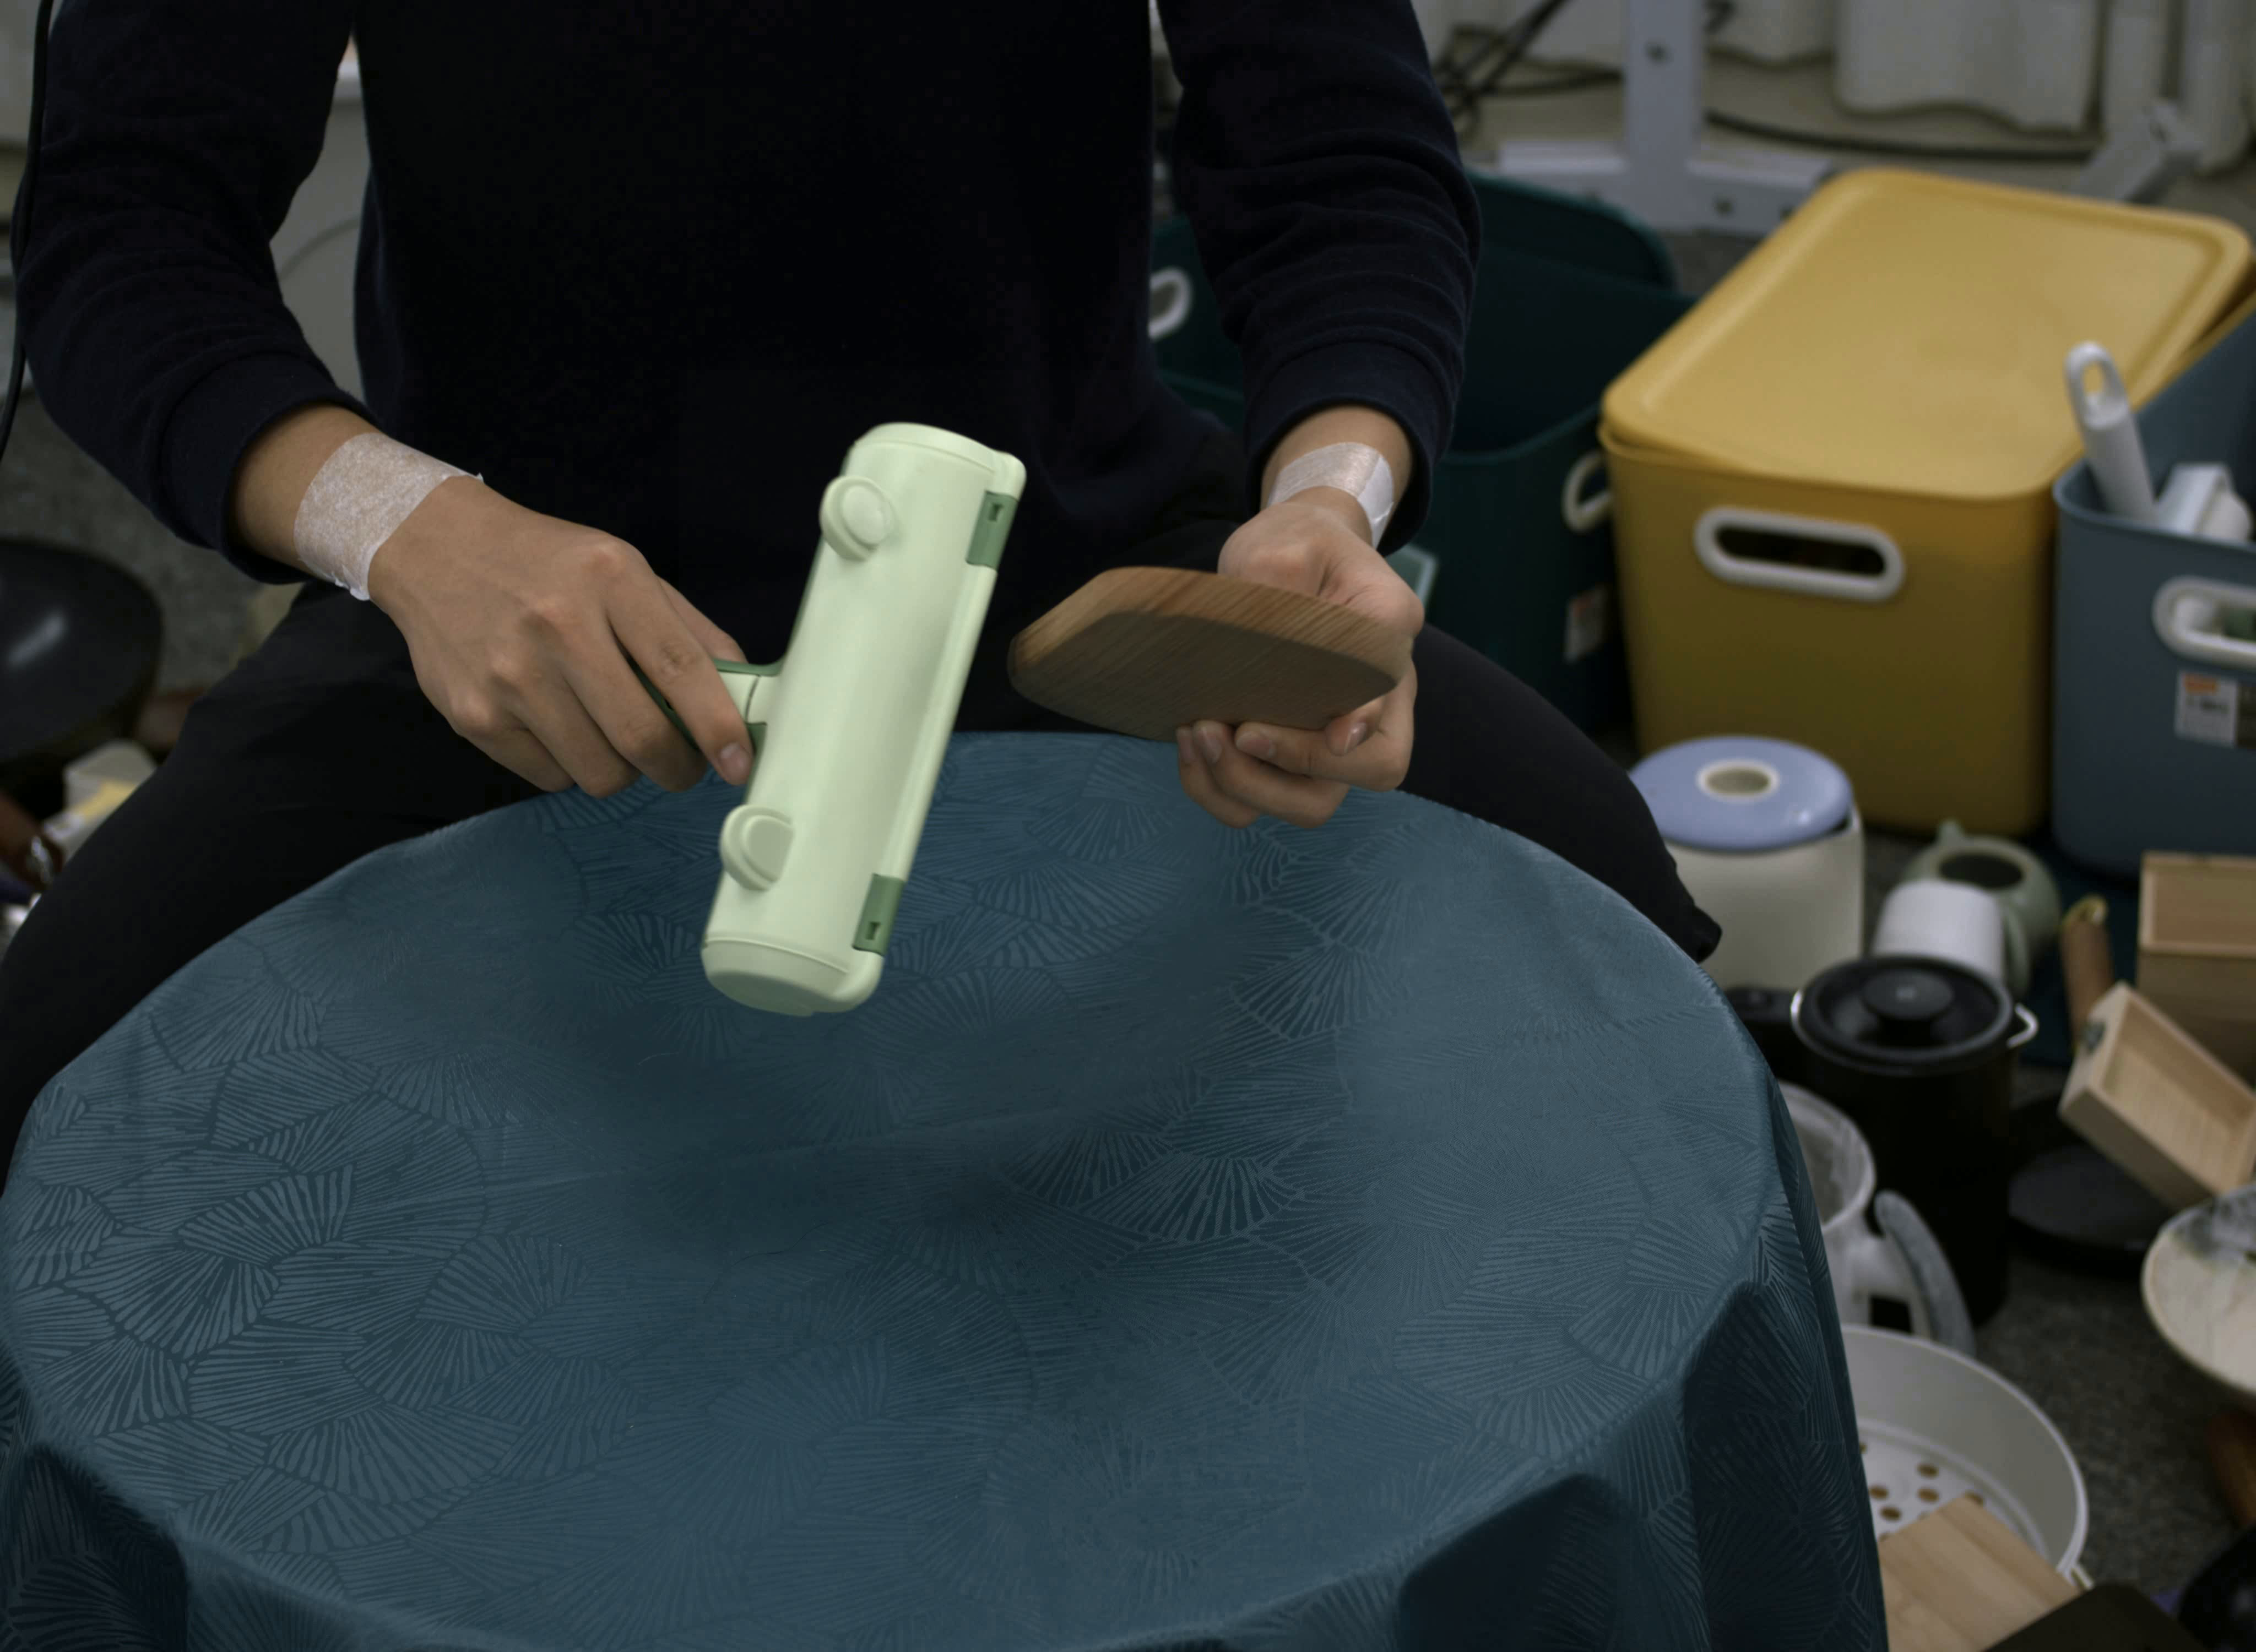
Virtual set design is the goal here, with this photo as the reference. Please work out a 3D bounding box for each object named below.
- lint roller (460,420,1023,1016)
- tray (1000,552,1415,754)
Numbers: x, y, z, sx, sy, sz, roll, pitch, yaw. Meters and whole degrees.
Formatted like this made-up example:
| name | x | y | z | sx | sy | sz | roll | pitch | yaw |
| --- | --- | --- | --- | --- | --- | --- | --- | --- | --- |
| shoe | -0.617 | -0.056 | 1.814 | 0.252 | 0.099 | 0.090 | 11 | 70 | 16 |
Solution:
| name | x | y | z | sx | sy | sz | roll | pitch | yaw |
| --- | --- | --- | --- | --- | --- | --- | --- | --- | --- |
| lint roller | -0.142 | -0.047 | 1.839 | 0.182 | 0.081 | 0.202 | 10 | 69 | 14 |
| tray | 0.022 | -0.053 | 1.792 | 0.101 | 0.020 | 0.229 | 17 | -13 | -11 |
